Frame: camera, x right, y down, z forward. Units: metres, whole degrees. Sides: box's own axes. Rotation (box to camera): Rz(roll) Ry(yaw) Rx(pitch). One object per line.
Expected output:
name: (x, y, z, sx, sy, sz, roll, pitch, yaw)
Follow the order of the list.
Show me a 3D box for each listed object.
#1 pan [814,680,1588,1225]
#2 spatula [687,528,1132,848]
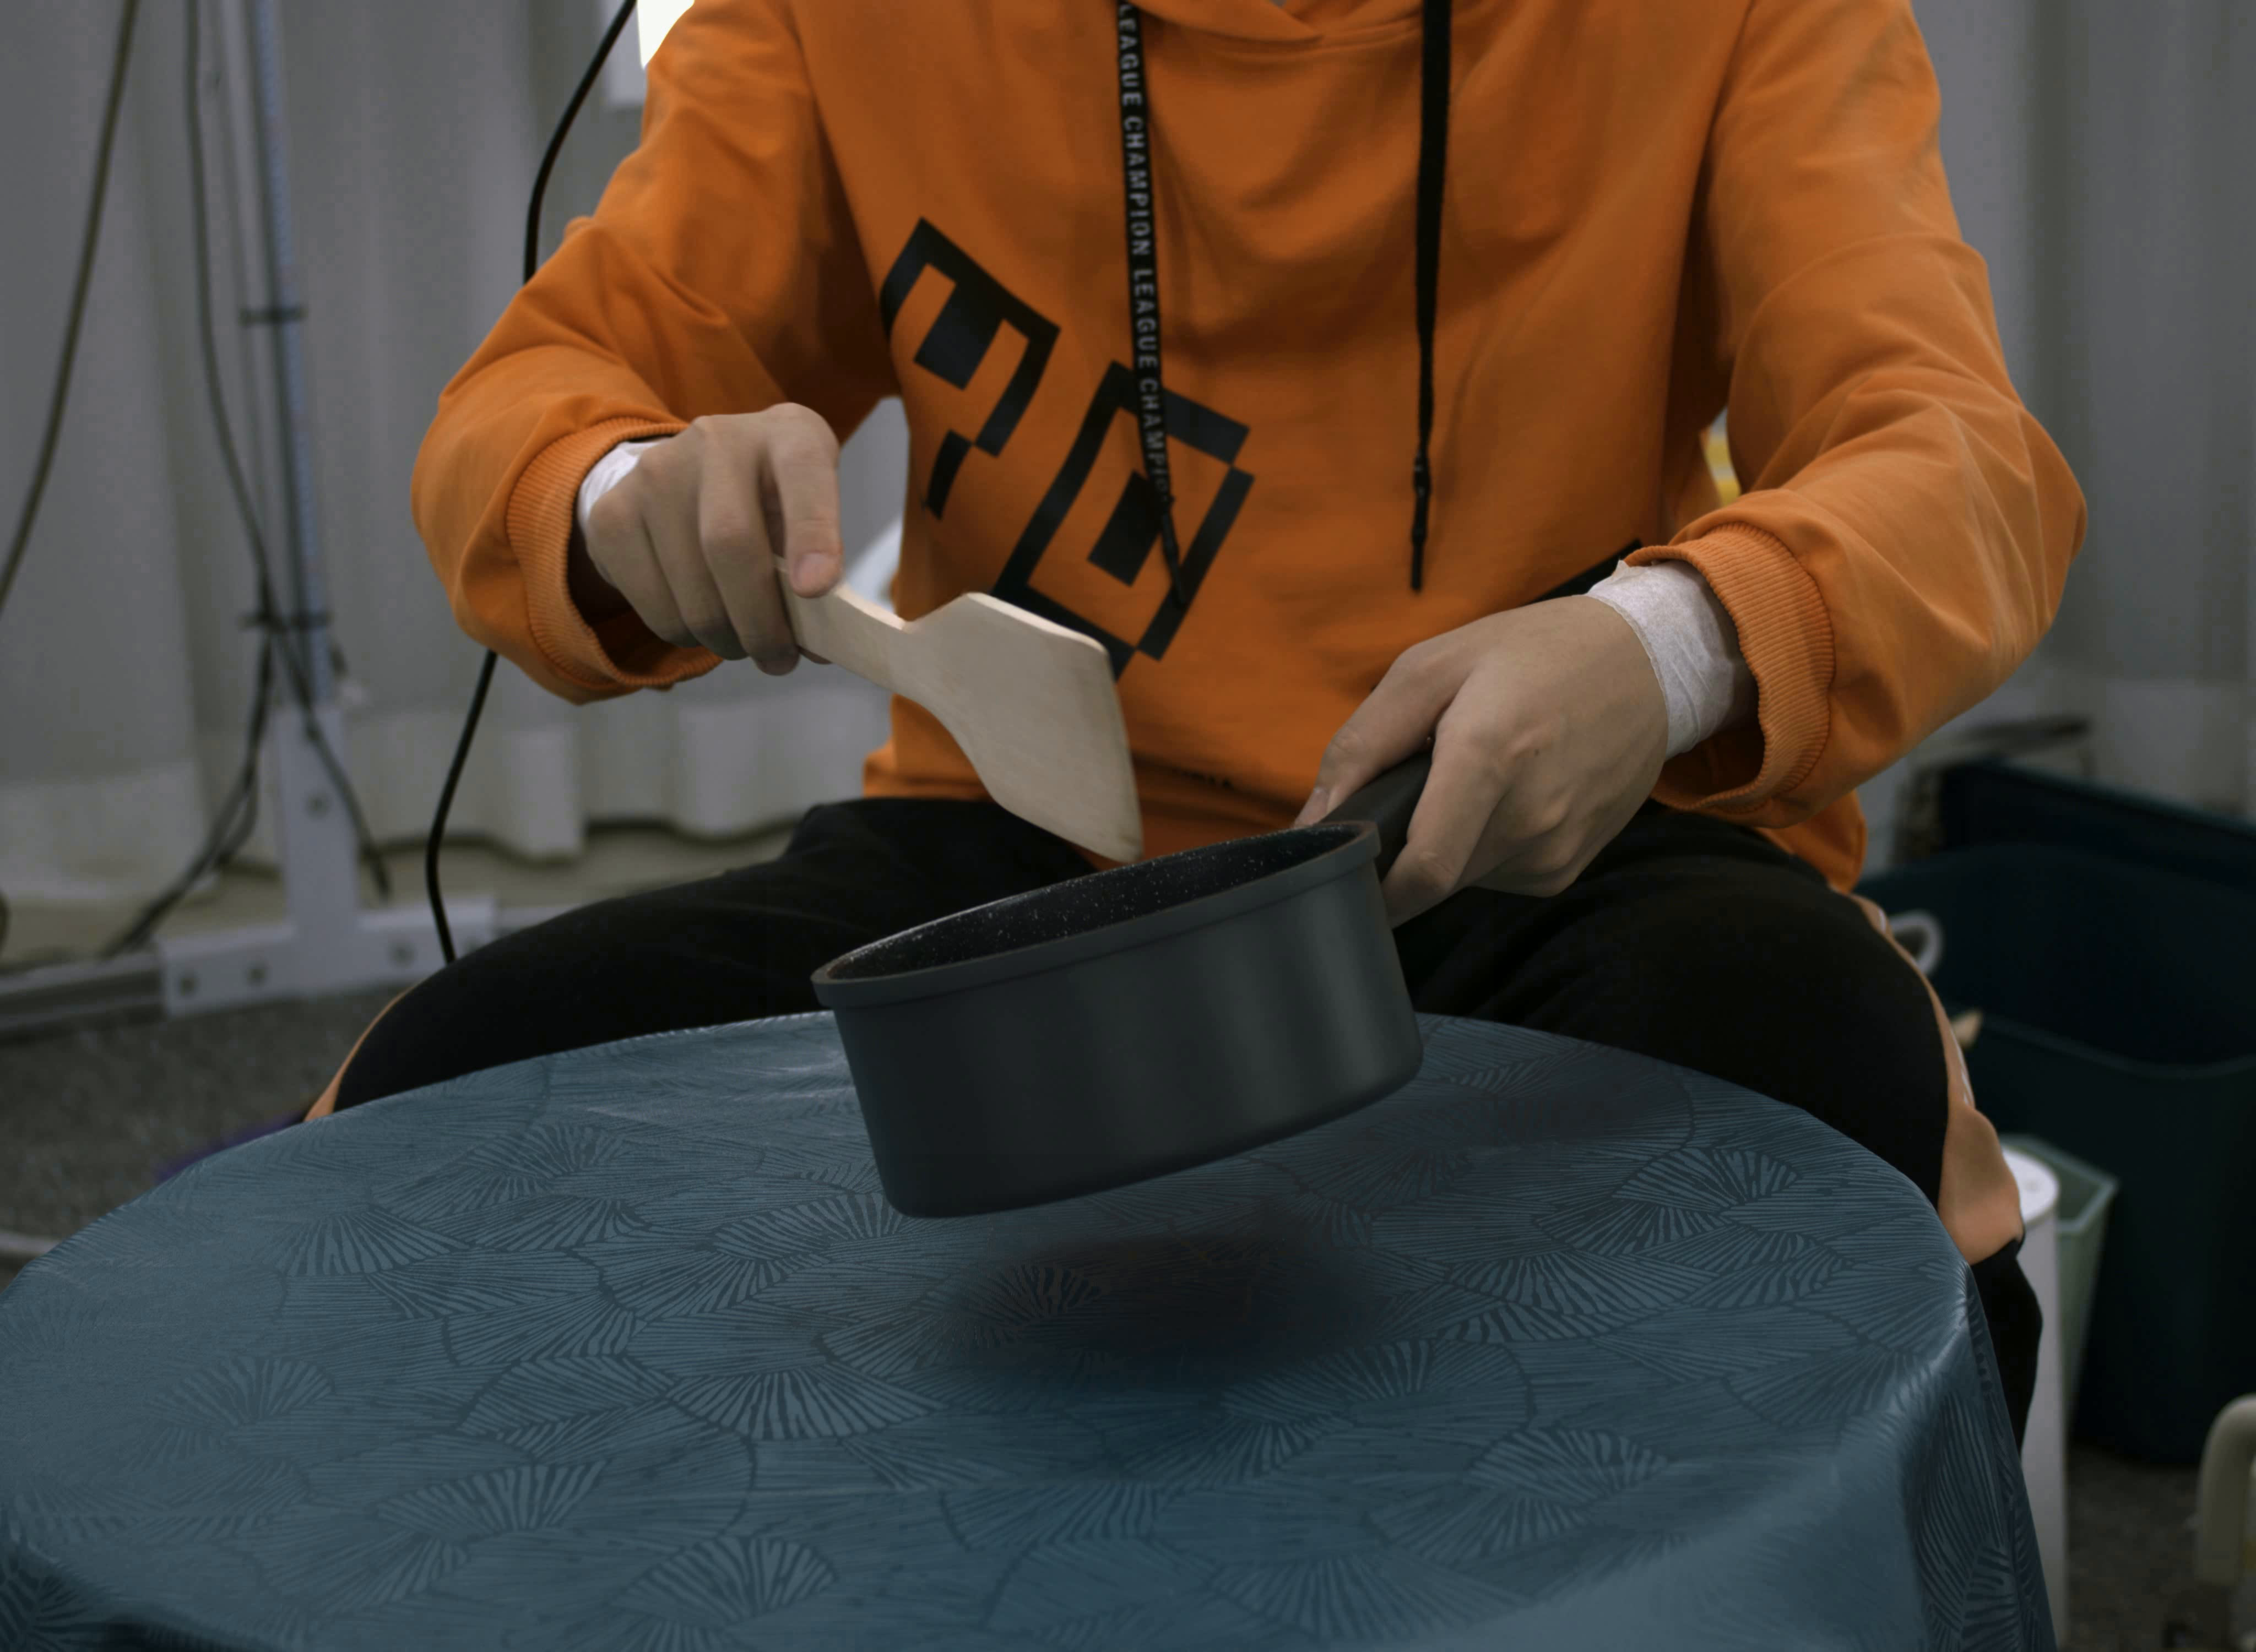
pan: (0.047, 0.036, 1.655, 0.172, 0.086, 0.329, -10, 8, 40)
spatula: (-0.076, -0.056, 1.693, 0.010, 0.072, 0.295, -22, 22, -22)
